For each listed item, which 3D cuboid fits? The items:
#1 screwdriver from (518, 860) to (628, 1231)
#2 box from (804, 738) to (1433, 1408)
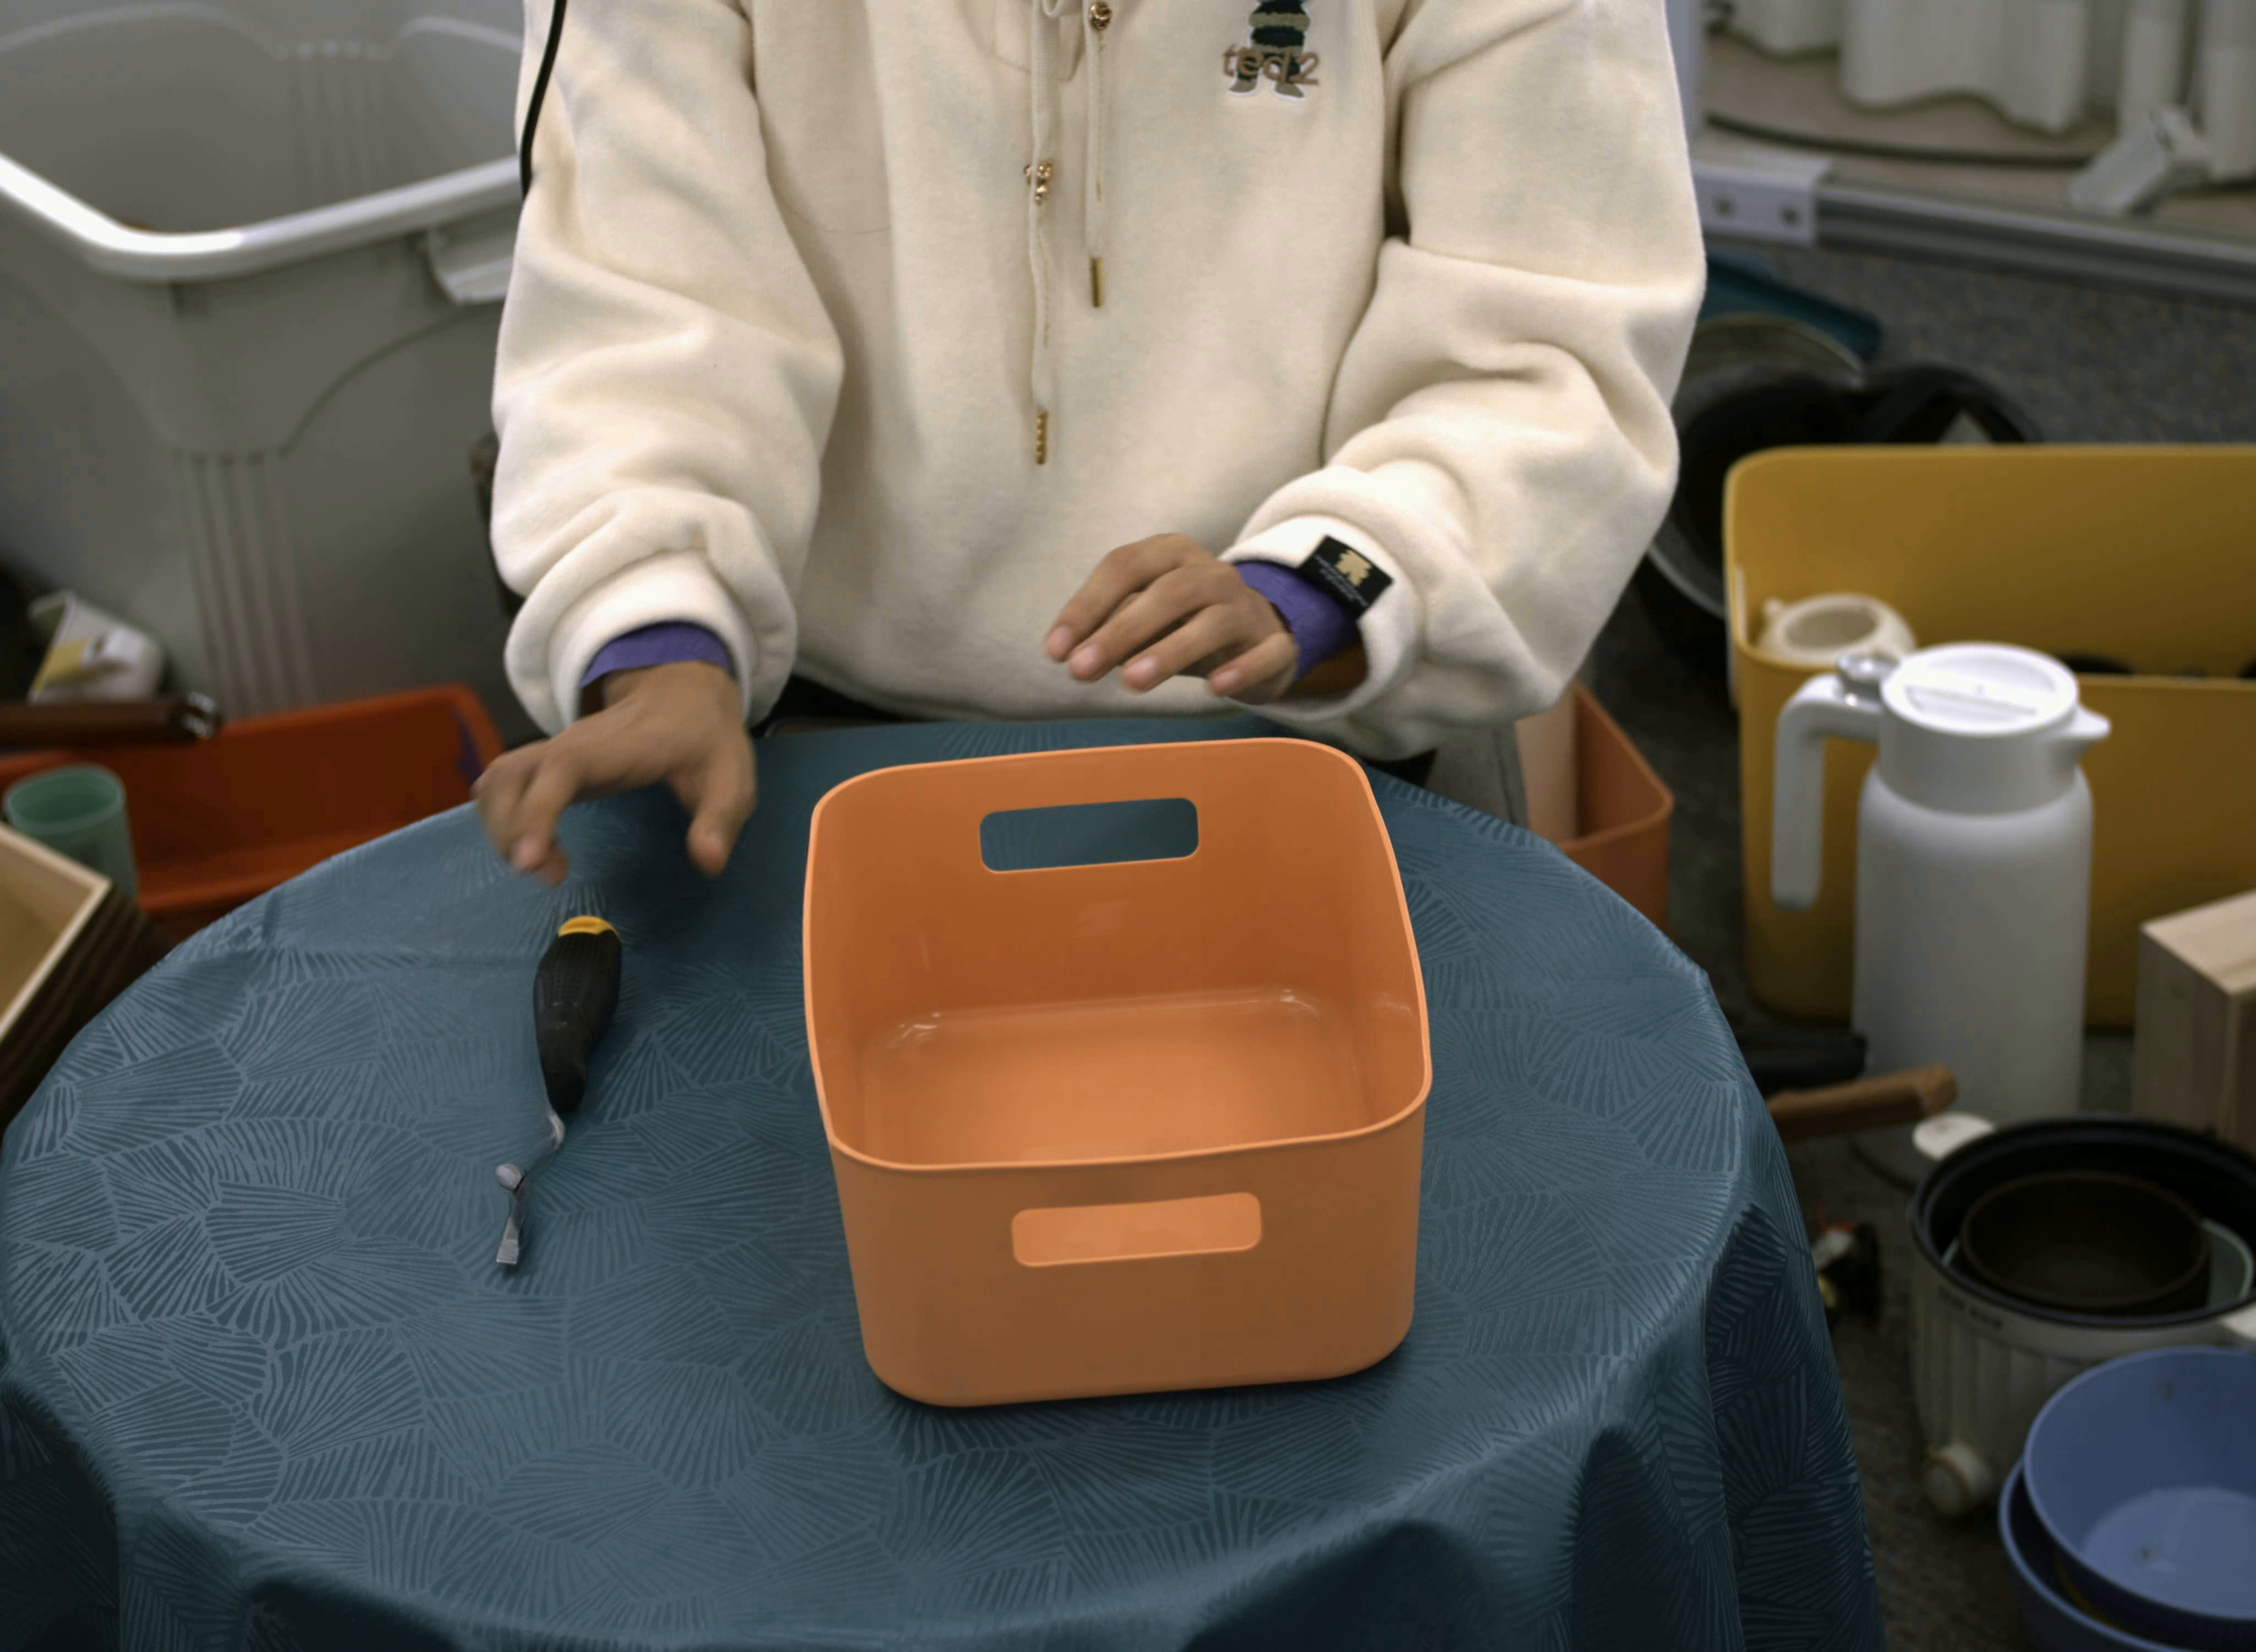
[{"bbox_3d":[-0.190,0.076,1.918,0.031,0.031,0.201,-2,36,1],"label":"screwdriver"},{"bbox_3d":[-0.003,0.079,1.832,0.198,0.101,0.277,-5,27,-2],"label":"box"}]
